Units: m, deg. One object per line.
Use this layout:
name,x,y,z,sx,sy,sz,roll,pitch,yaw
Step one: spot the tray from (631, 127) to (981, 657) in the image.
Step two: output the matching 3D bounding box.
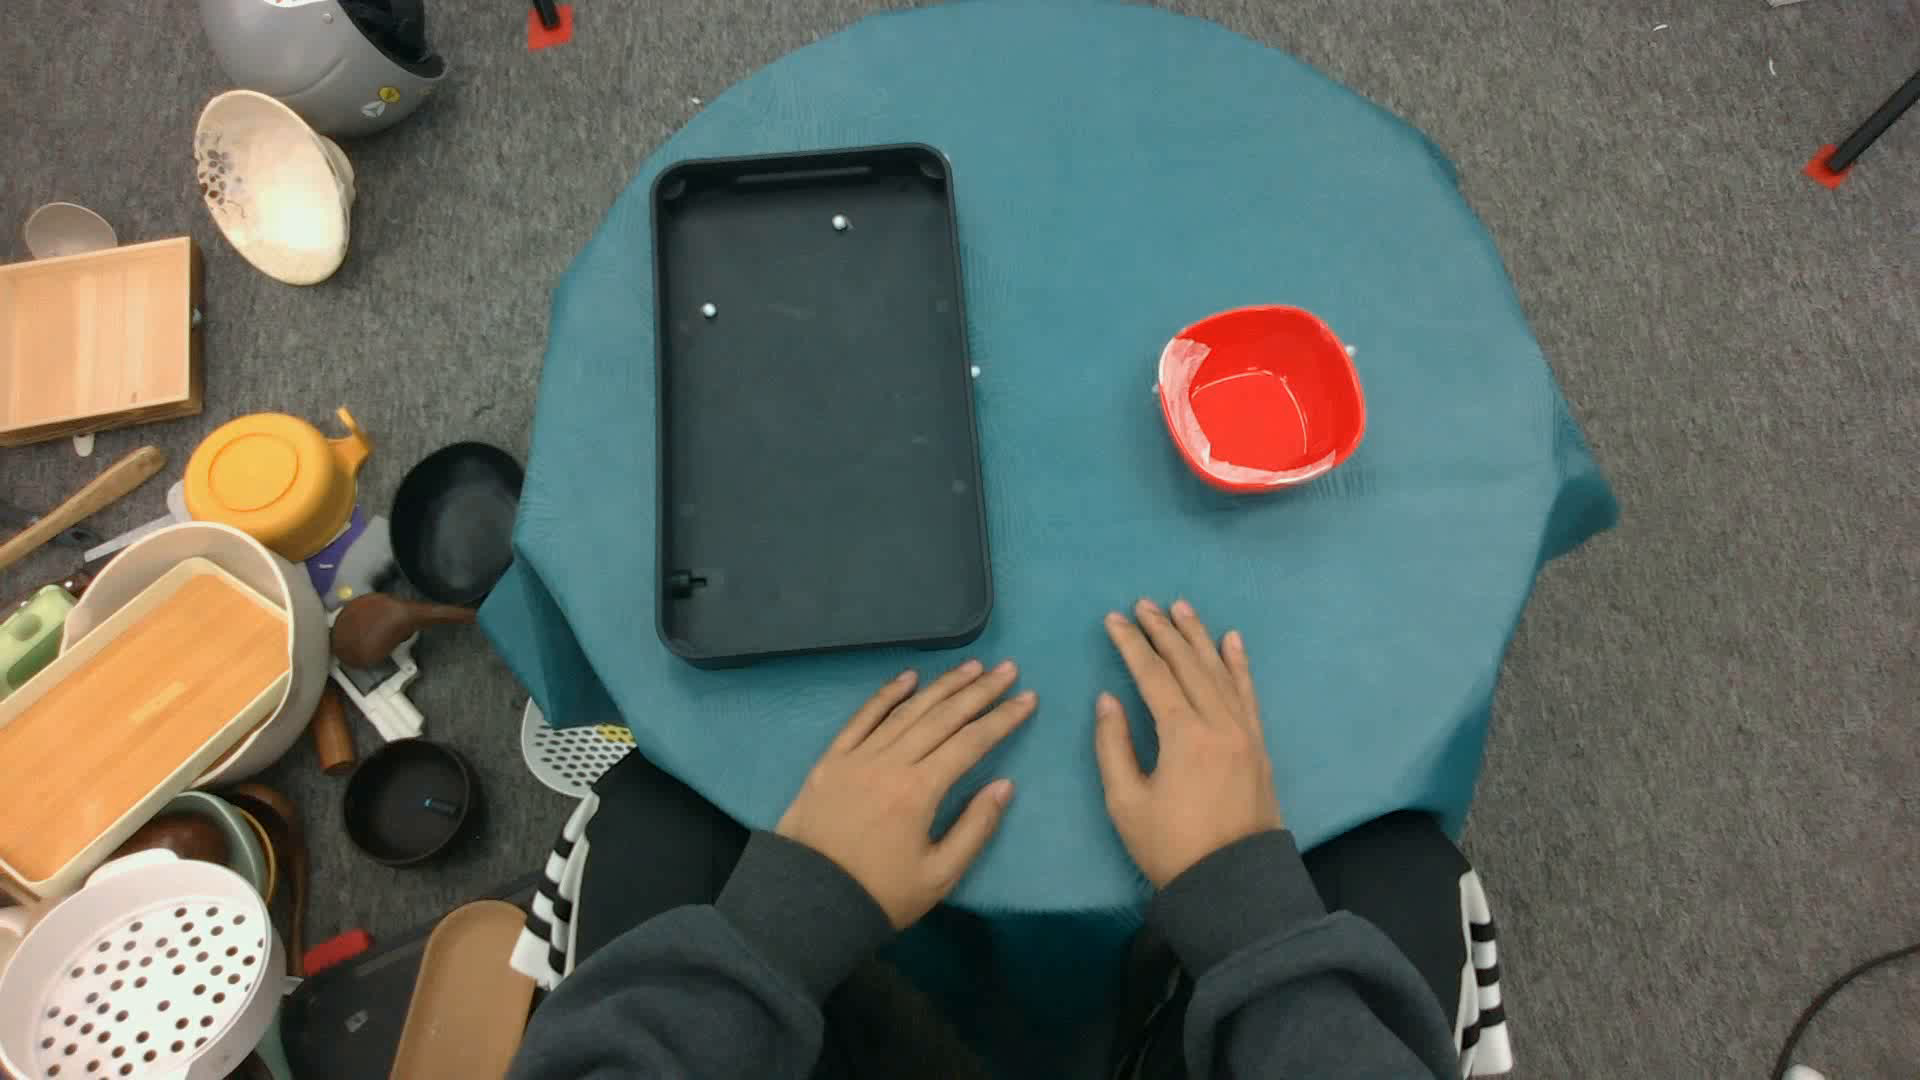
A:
tray,-0.094,-0.093,0.798,0.184,0.037,0.319,-5,69,-2

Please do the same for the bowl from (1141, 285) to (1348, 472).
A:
bowl,0.158,-0.084,0.786,0.119,0.051,0.119,0,68,0
